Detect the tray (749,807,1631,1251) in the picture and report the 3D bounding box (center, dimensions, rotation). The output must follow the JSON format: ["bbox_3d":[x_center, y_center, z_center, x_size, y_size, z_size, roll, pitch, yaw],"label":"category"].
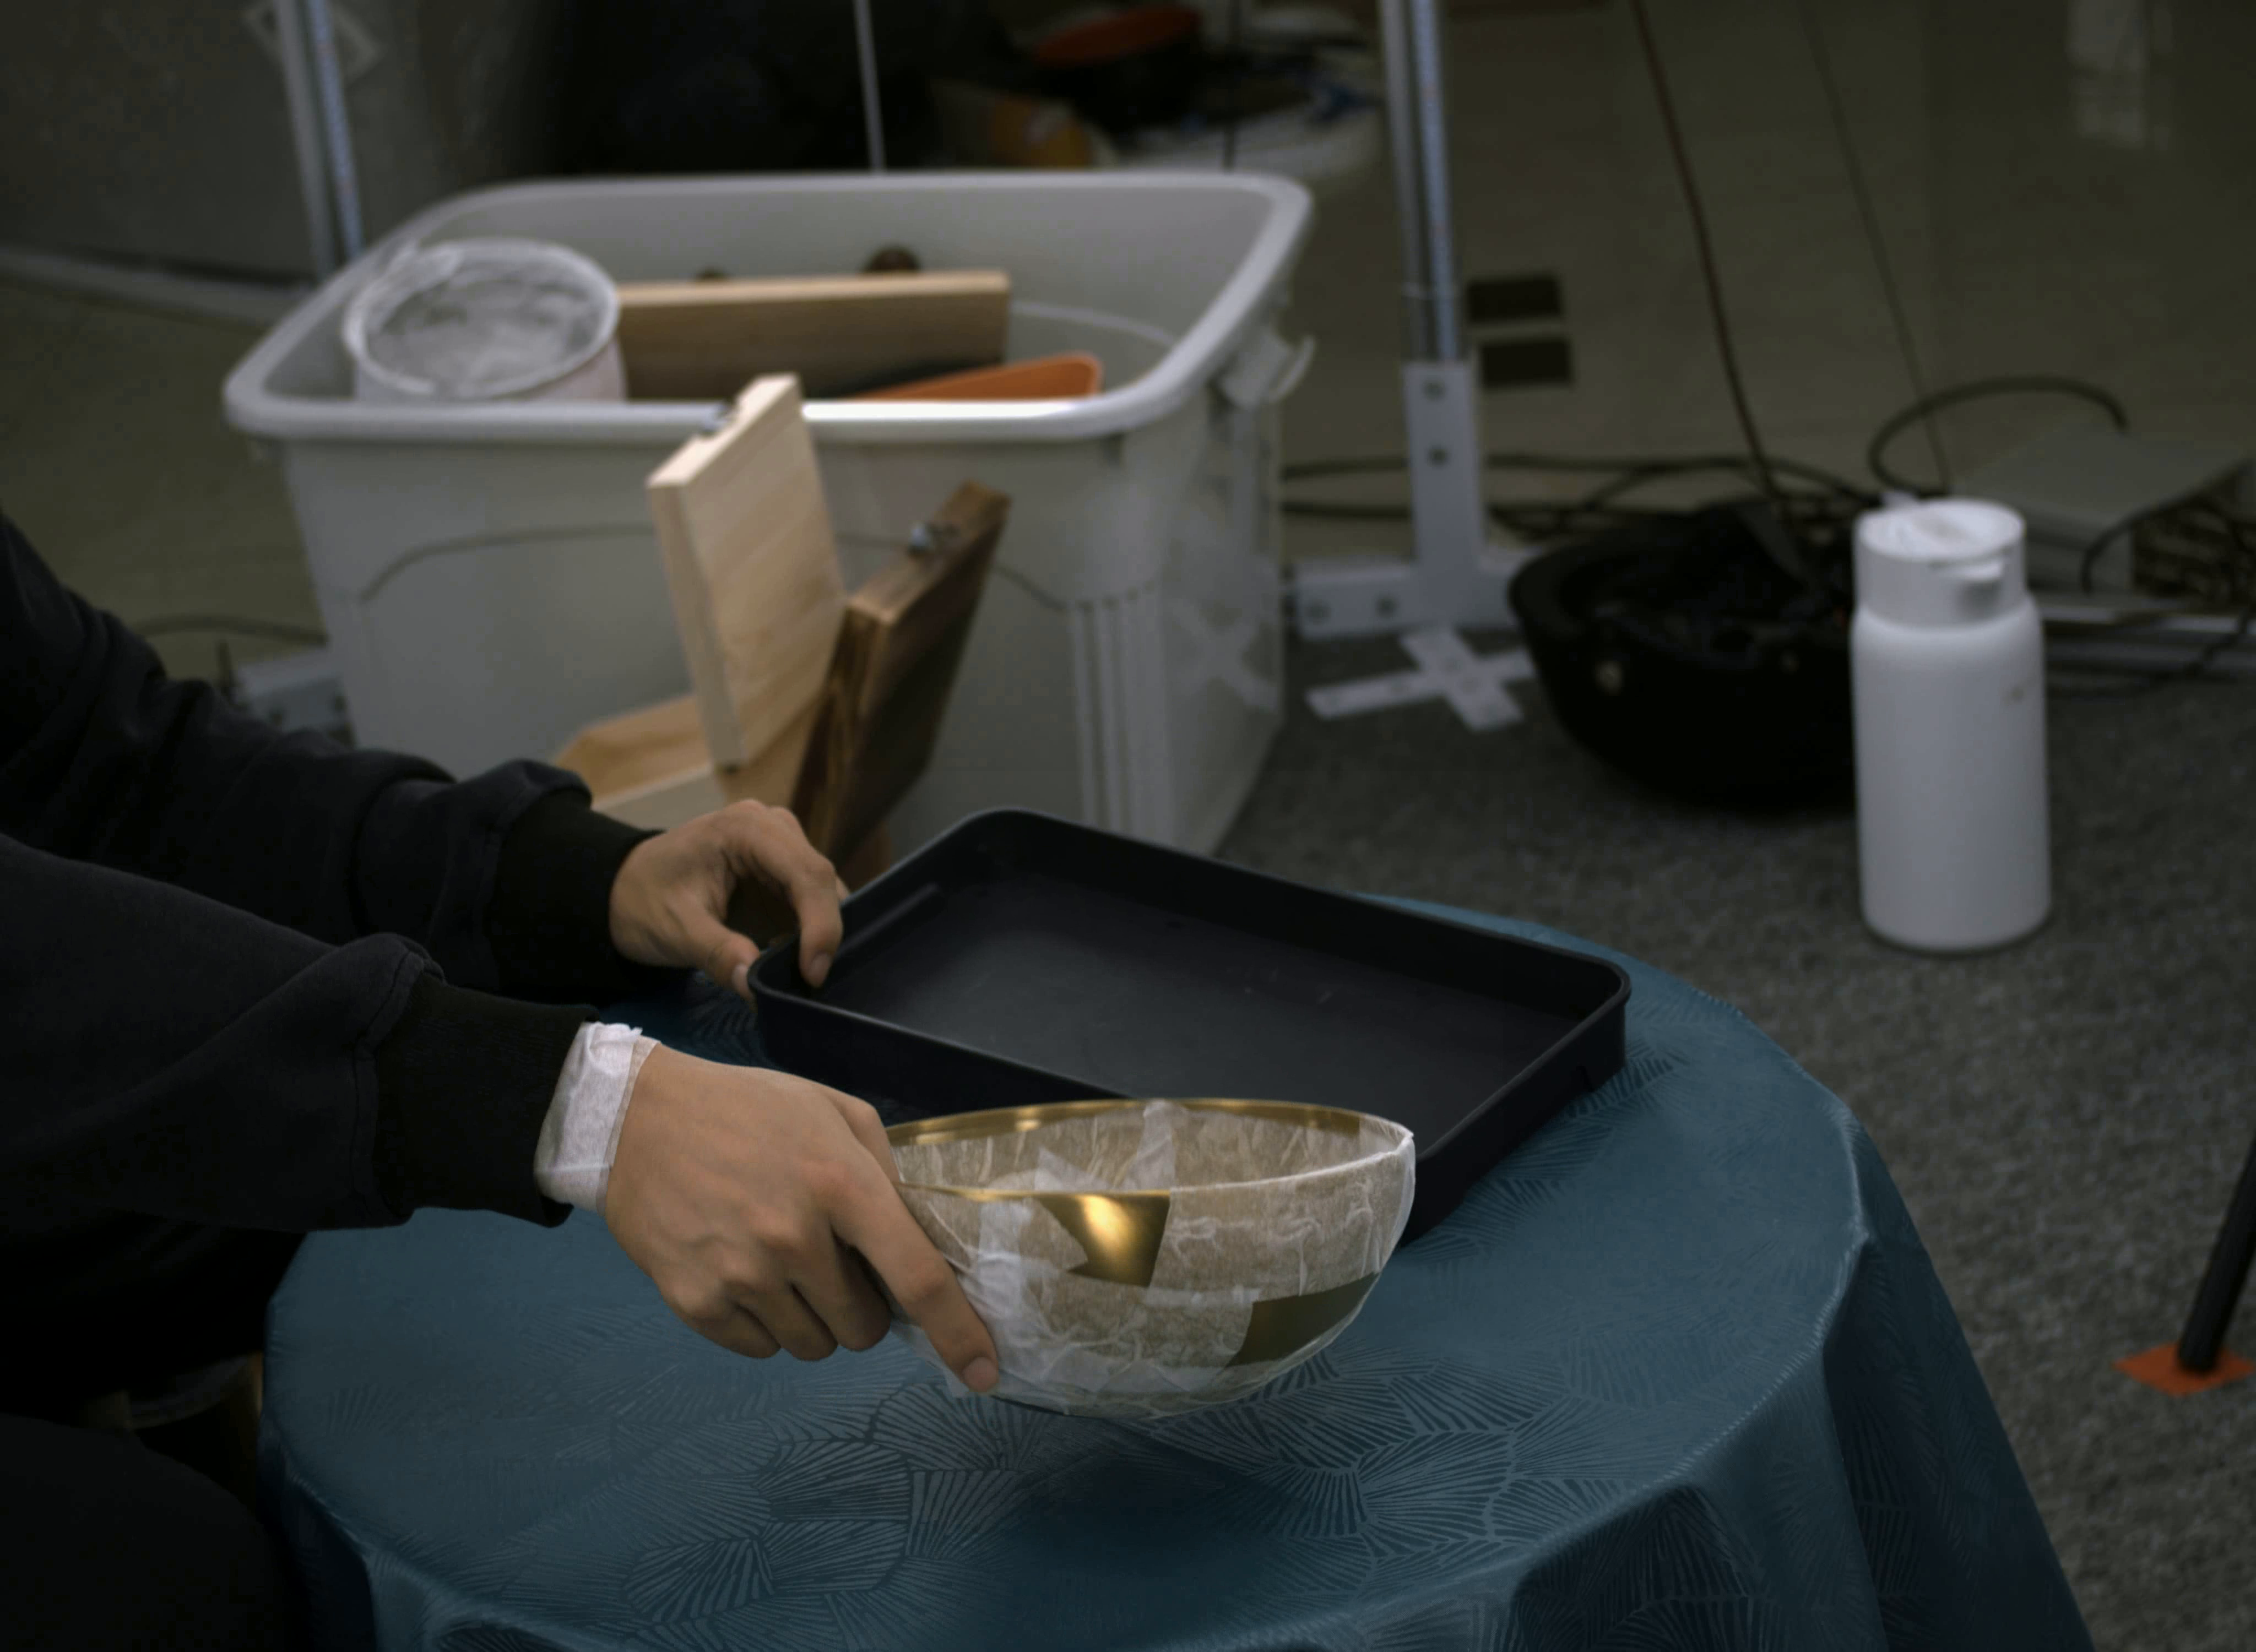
[{"bbox_3d":[0.023,0.075,2.223,0.316,0.037,0.182,16,33,32],"label":"tray"}]

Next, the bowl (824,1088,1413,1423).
[{"bbox_3d":[-0.004,0.153,1.956,0.214,0.095,0.213,-3,8,0],"label":"bowl"}]
